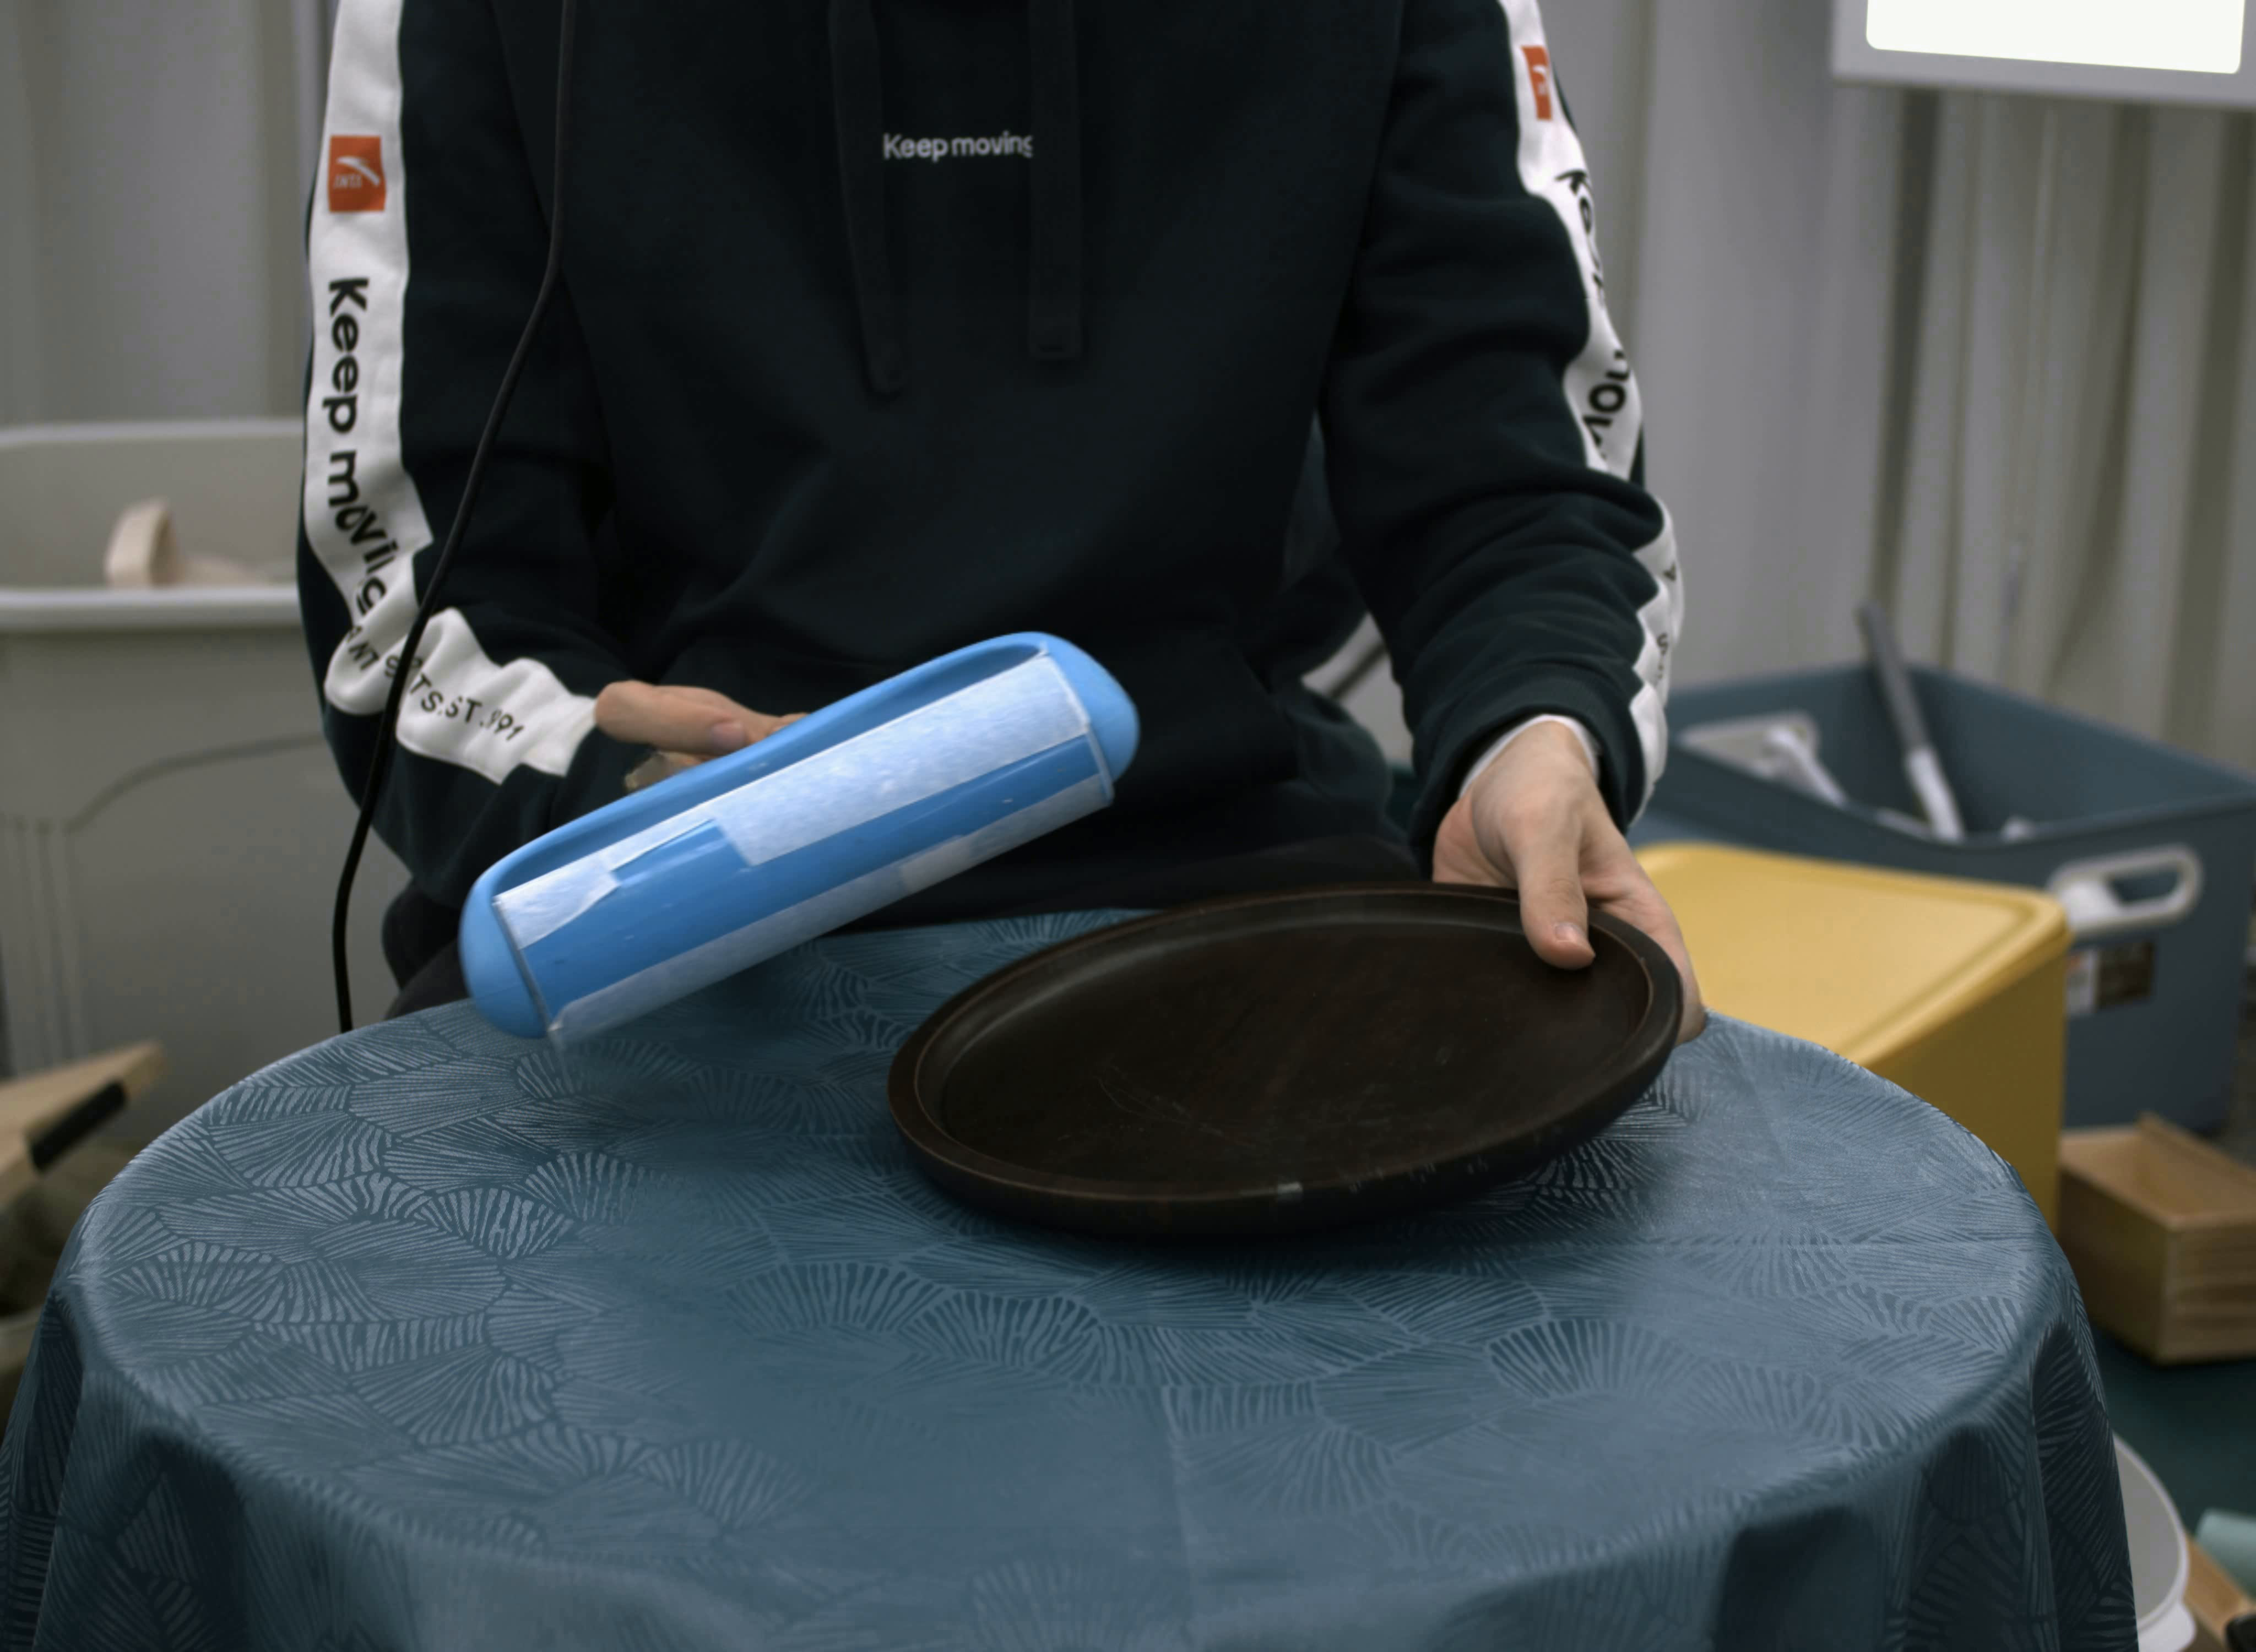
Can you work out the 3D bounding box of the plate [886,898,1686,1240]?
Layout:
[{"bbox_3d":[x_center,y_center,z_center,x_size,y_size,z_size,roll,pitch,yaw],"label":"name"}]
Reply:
[{"bbox_3d":[0.050,0.073,1.654,0.254,0.029,0.253,-7,19,3],"label":"plate"}]

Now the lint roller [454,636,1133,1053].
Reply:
[{"bbox_3d":[-0.116,0.005,1.719,0.229,0.068,0.179,-26,7,-9],"label":"lint roller"}]
